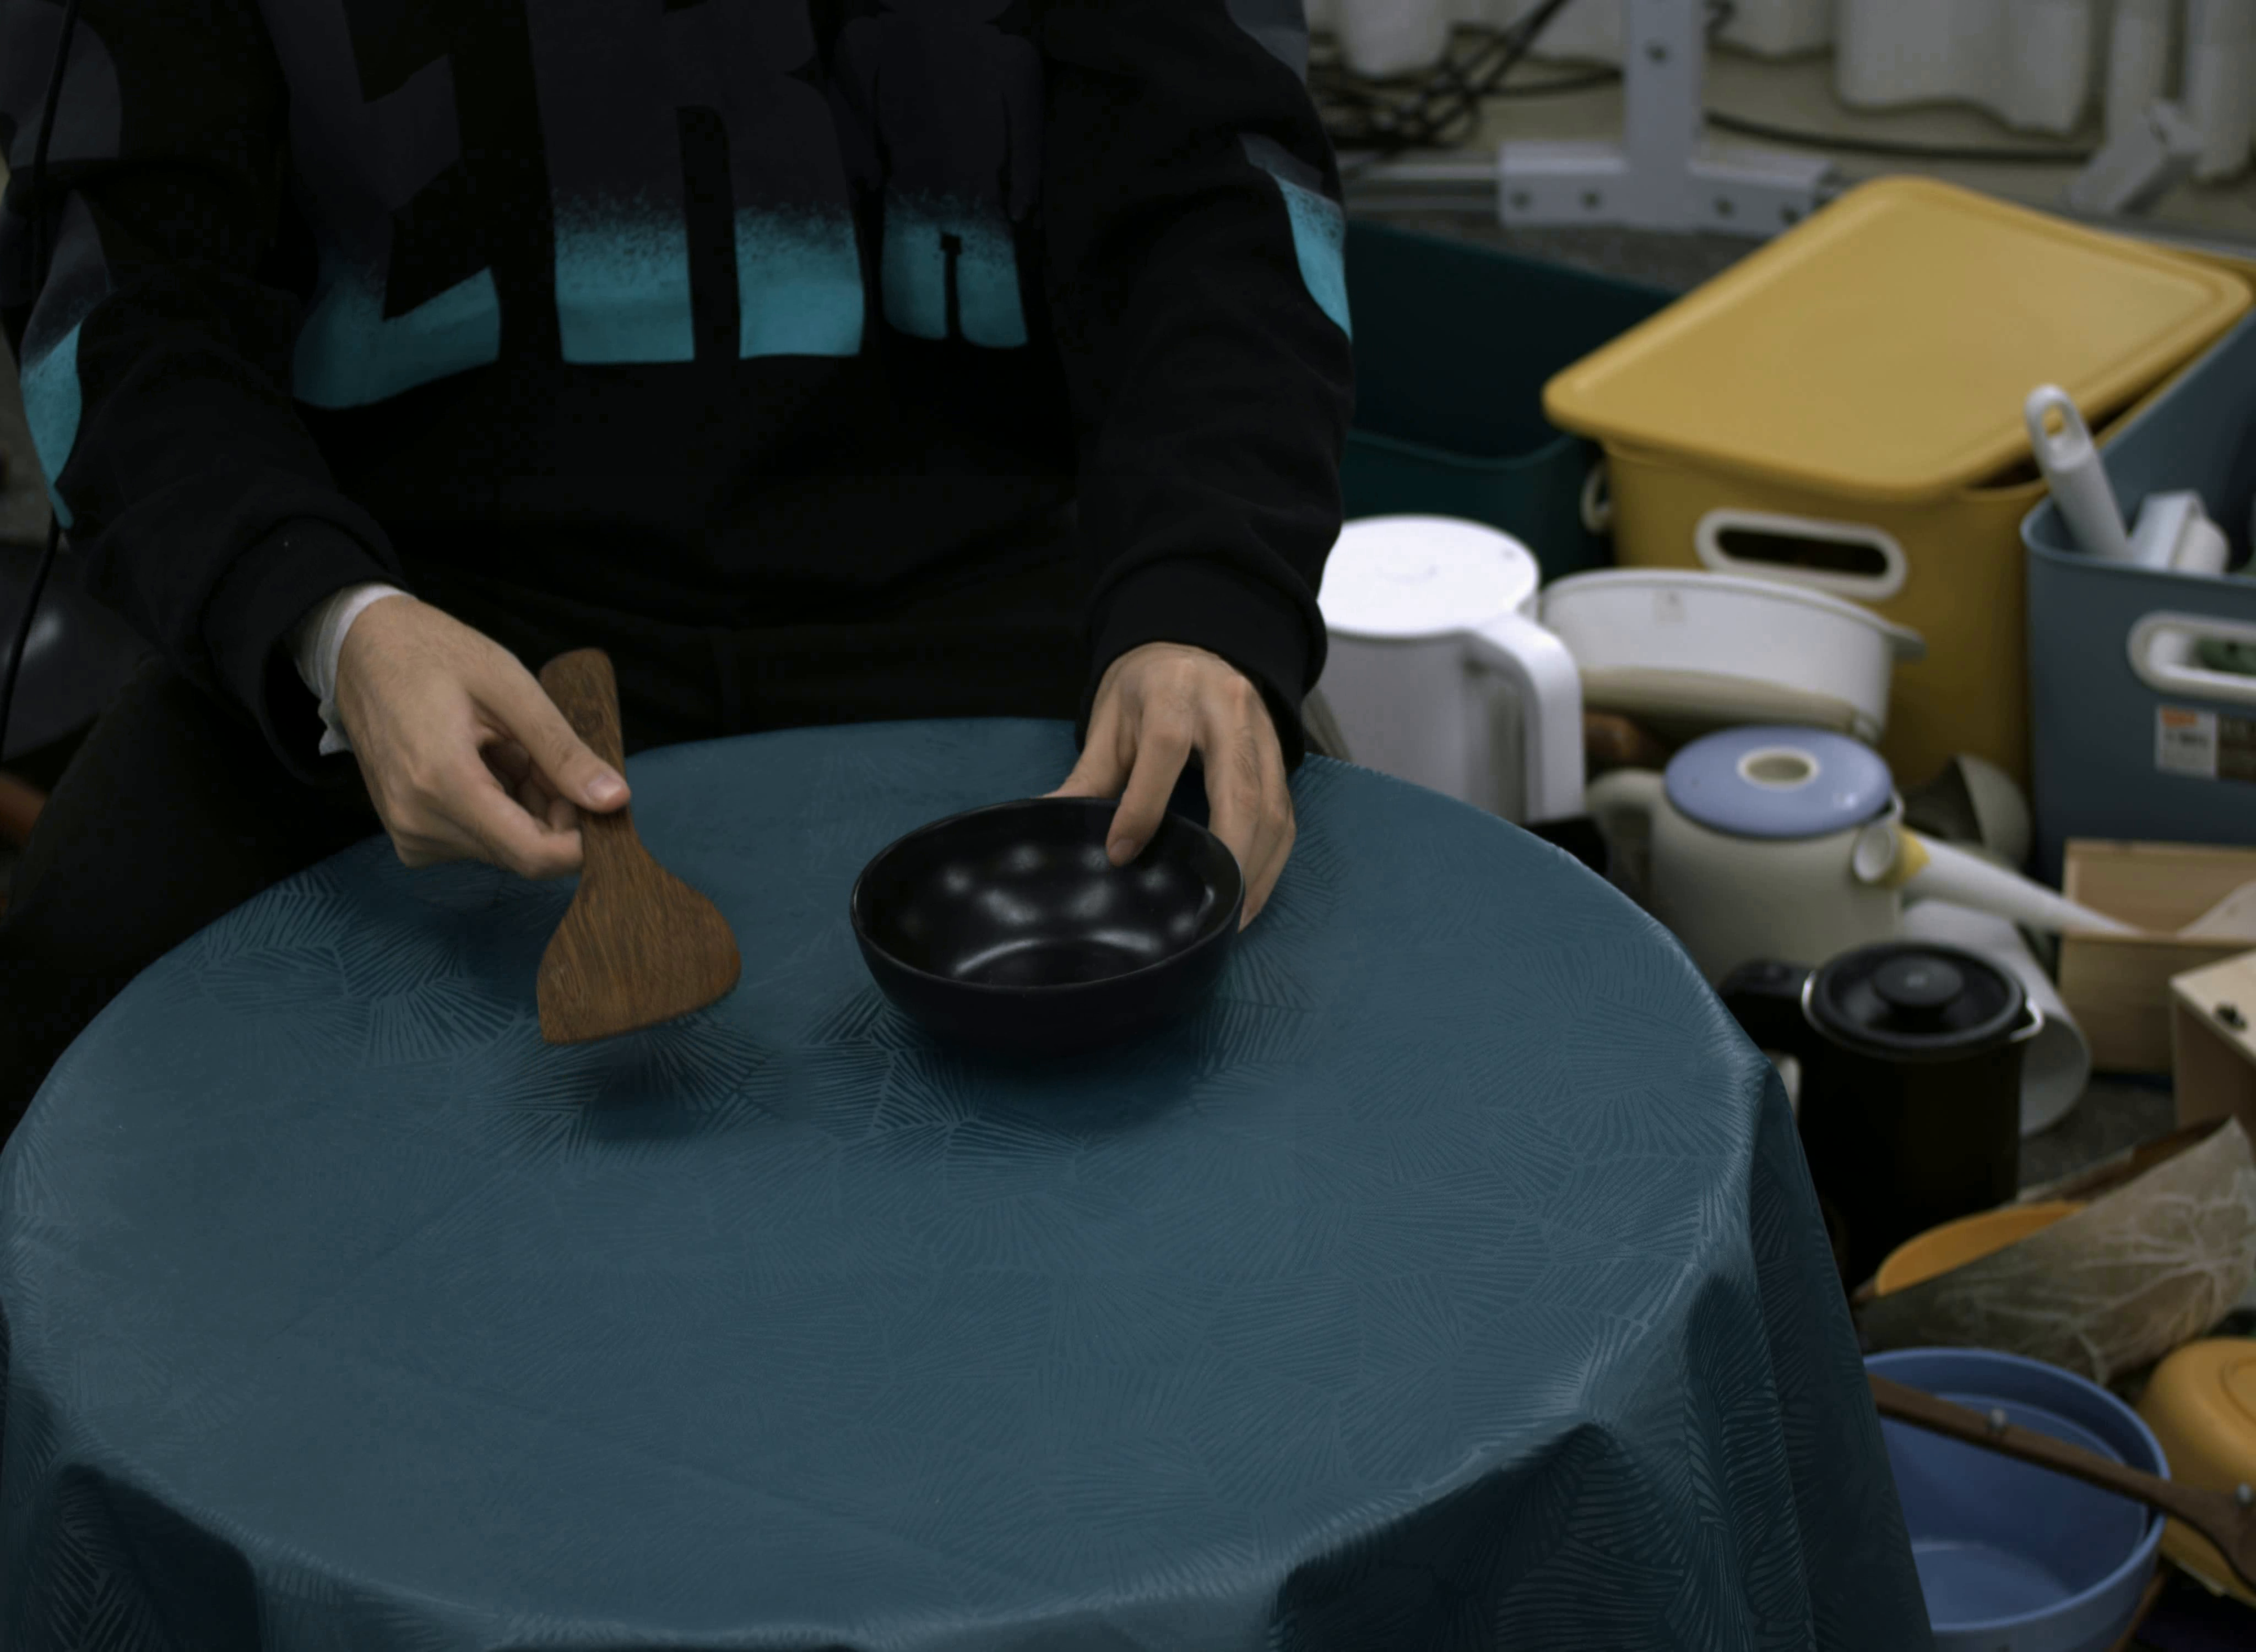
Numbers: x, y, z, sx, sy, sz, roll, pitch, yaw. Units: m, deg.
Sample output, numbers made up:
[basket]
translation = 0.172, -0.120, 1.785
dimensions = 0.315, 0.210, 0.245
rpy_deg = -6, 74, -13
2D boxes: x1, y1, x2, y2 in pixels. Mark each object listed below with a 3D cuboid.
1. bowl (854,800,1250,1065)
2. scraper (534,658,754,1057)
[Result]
[bowl]
translation = -0.024, 0.045, 1.962
dimensions = 0.139, 0.049, 0.142
rpy_deg = -5, 27, 3
[scraper]
translation = -0.181, 0.008, 1.986
dimensions = 0.075, 0.010, 0.215
rpy_deg = -14, 41, -2
